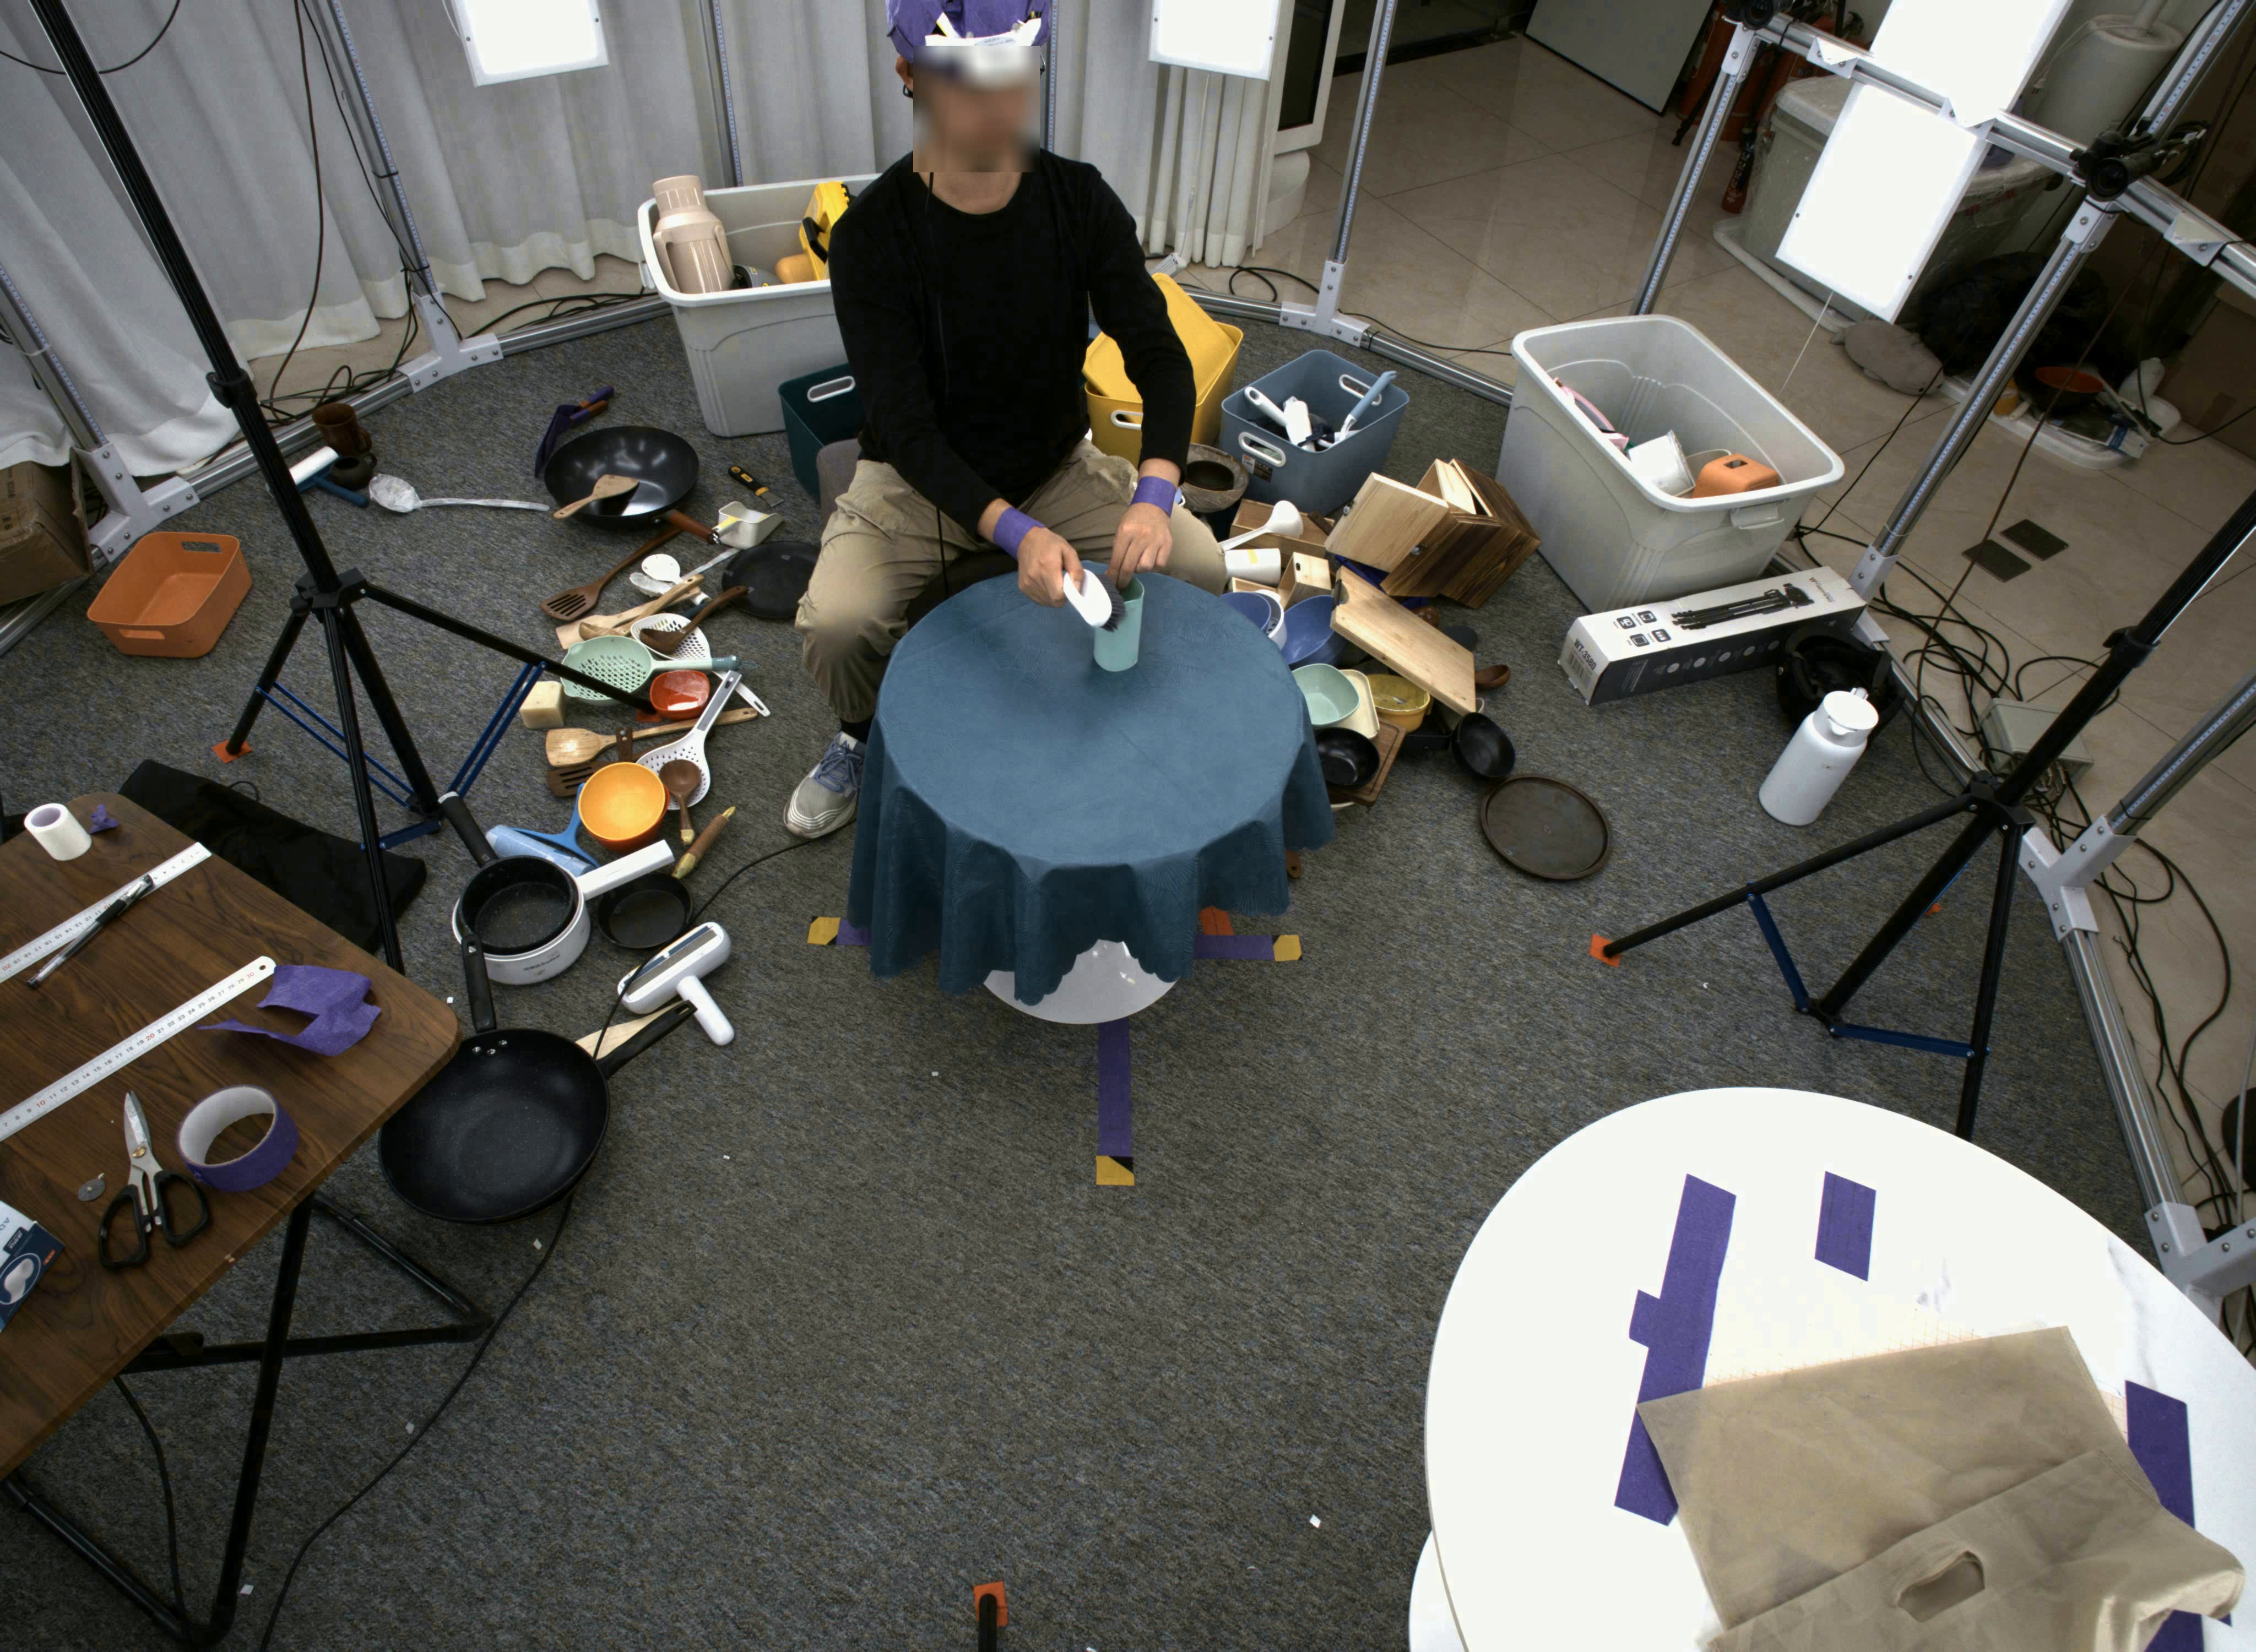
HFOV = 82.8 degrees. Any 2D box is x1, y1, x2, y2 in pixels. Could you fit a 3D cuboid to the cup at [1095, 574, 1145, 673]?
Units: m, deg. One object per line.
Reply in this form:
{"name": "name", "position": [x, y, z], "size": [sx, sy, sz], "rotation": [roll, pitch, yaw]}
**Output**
{"name": "cup", "position": [-0.014, -0.288, 1.836], "size": [0.066, 0.129, 0.068], "rotation": [2, 49, -3]}

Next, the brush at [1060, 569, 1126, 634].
{"name": "brush", "position": [-0.055, -0.310, 1.747], "size": [0.072, 0.049, 0.101], "rotation": [10, 42, -43]}
